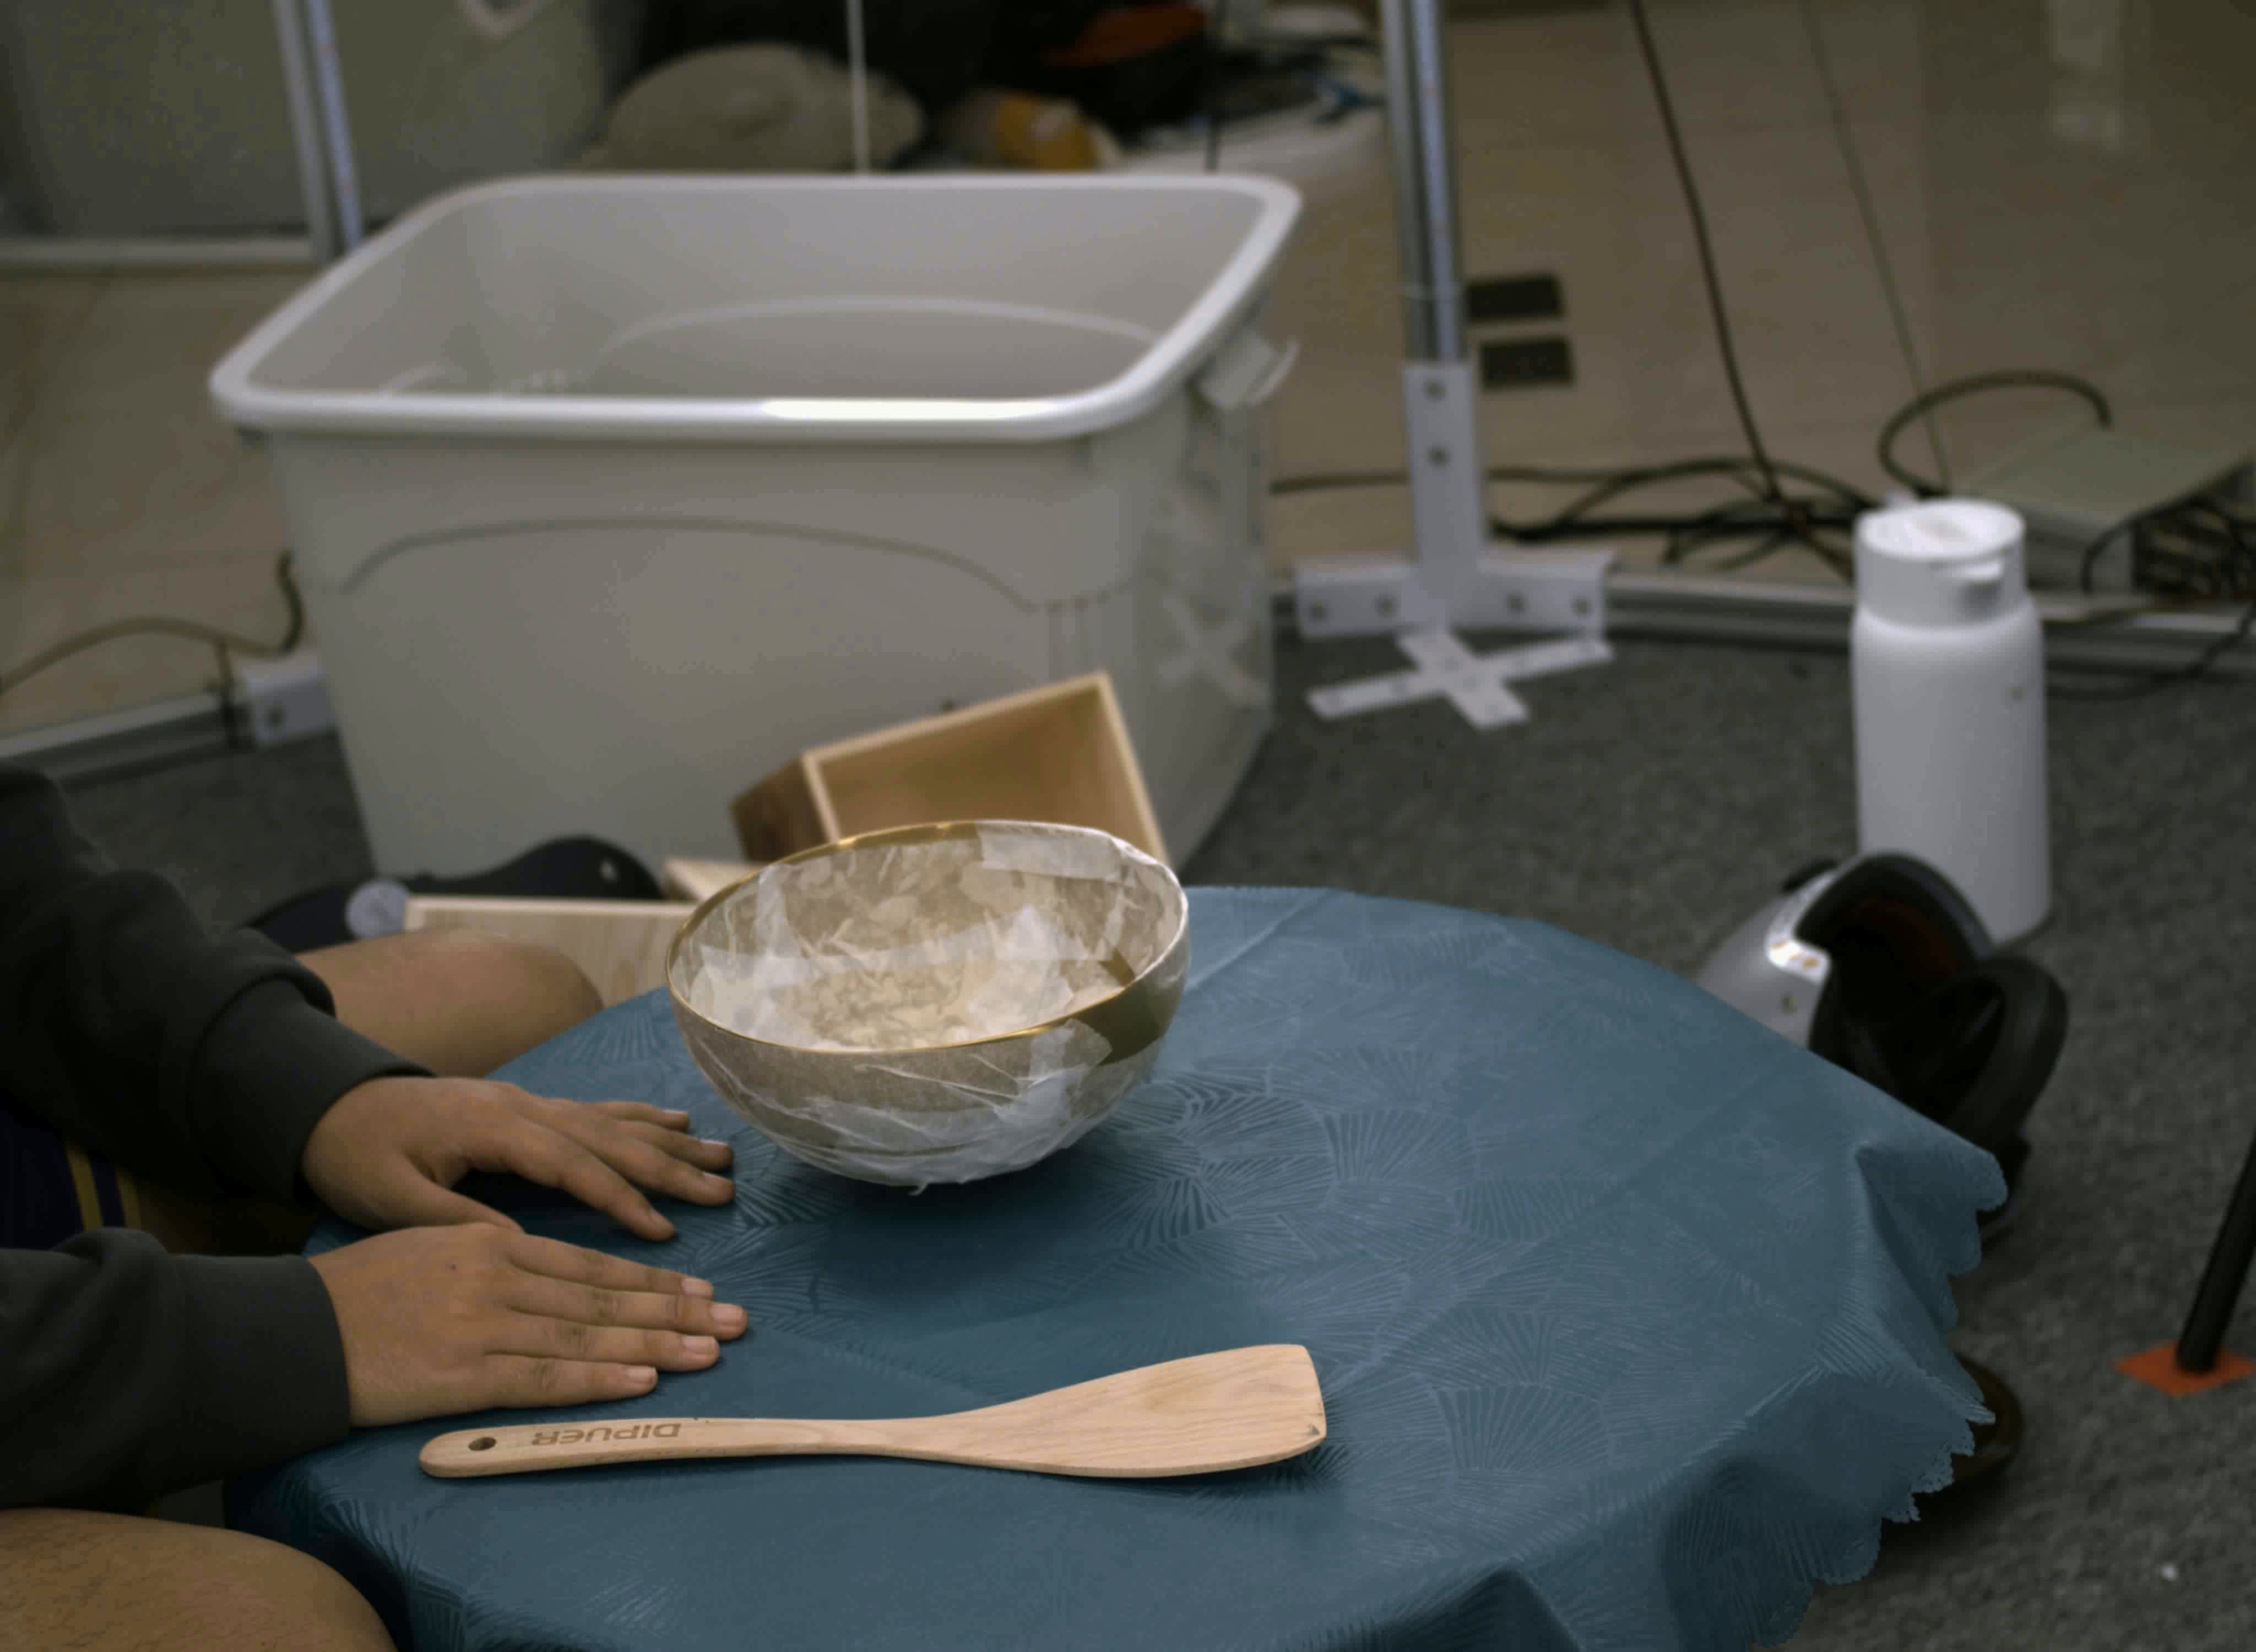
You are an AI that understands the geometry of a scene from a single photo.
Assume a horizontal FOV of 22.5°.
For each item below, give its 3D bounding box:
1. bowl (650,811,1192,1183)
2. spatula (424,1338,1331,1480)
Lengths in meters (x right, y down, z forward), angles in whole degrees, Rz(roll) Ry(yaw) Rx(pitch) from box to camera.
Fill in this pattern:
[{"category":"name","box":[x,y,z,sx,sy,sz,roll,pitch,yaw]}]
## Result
[{"category":"bowl","box":[-0.077,0.078,2.181,0.214,0.096,0.211,-5,26,2]},{"category":"spatula","box":[-0.089,0.210,1.997,0.327,0.017,0.079,-3,25,8]}]
